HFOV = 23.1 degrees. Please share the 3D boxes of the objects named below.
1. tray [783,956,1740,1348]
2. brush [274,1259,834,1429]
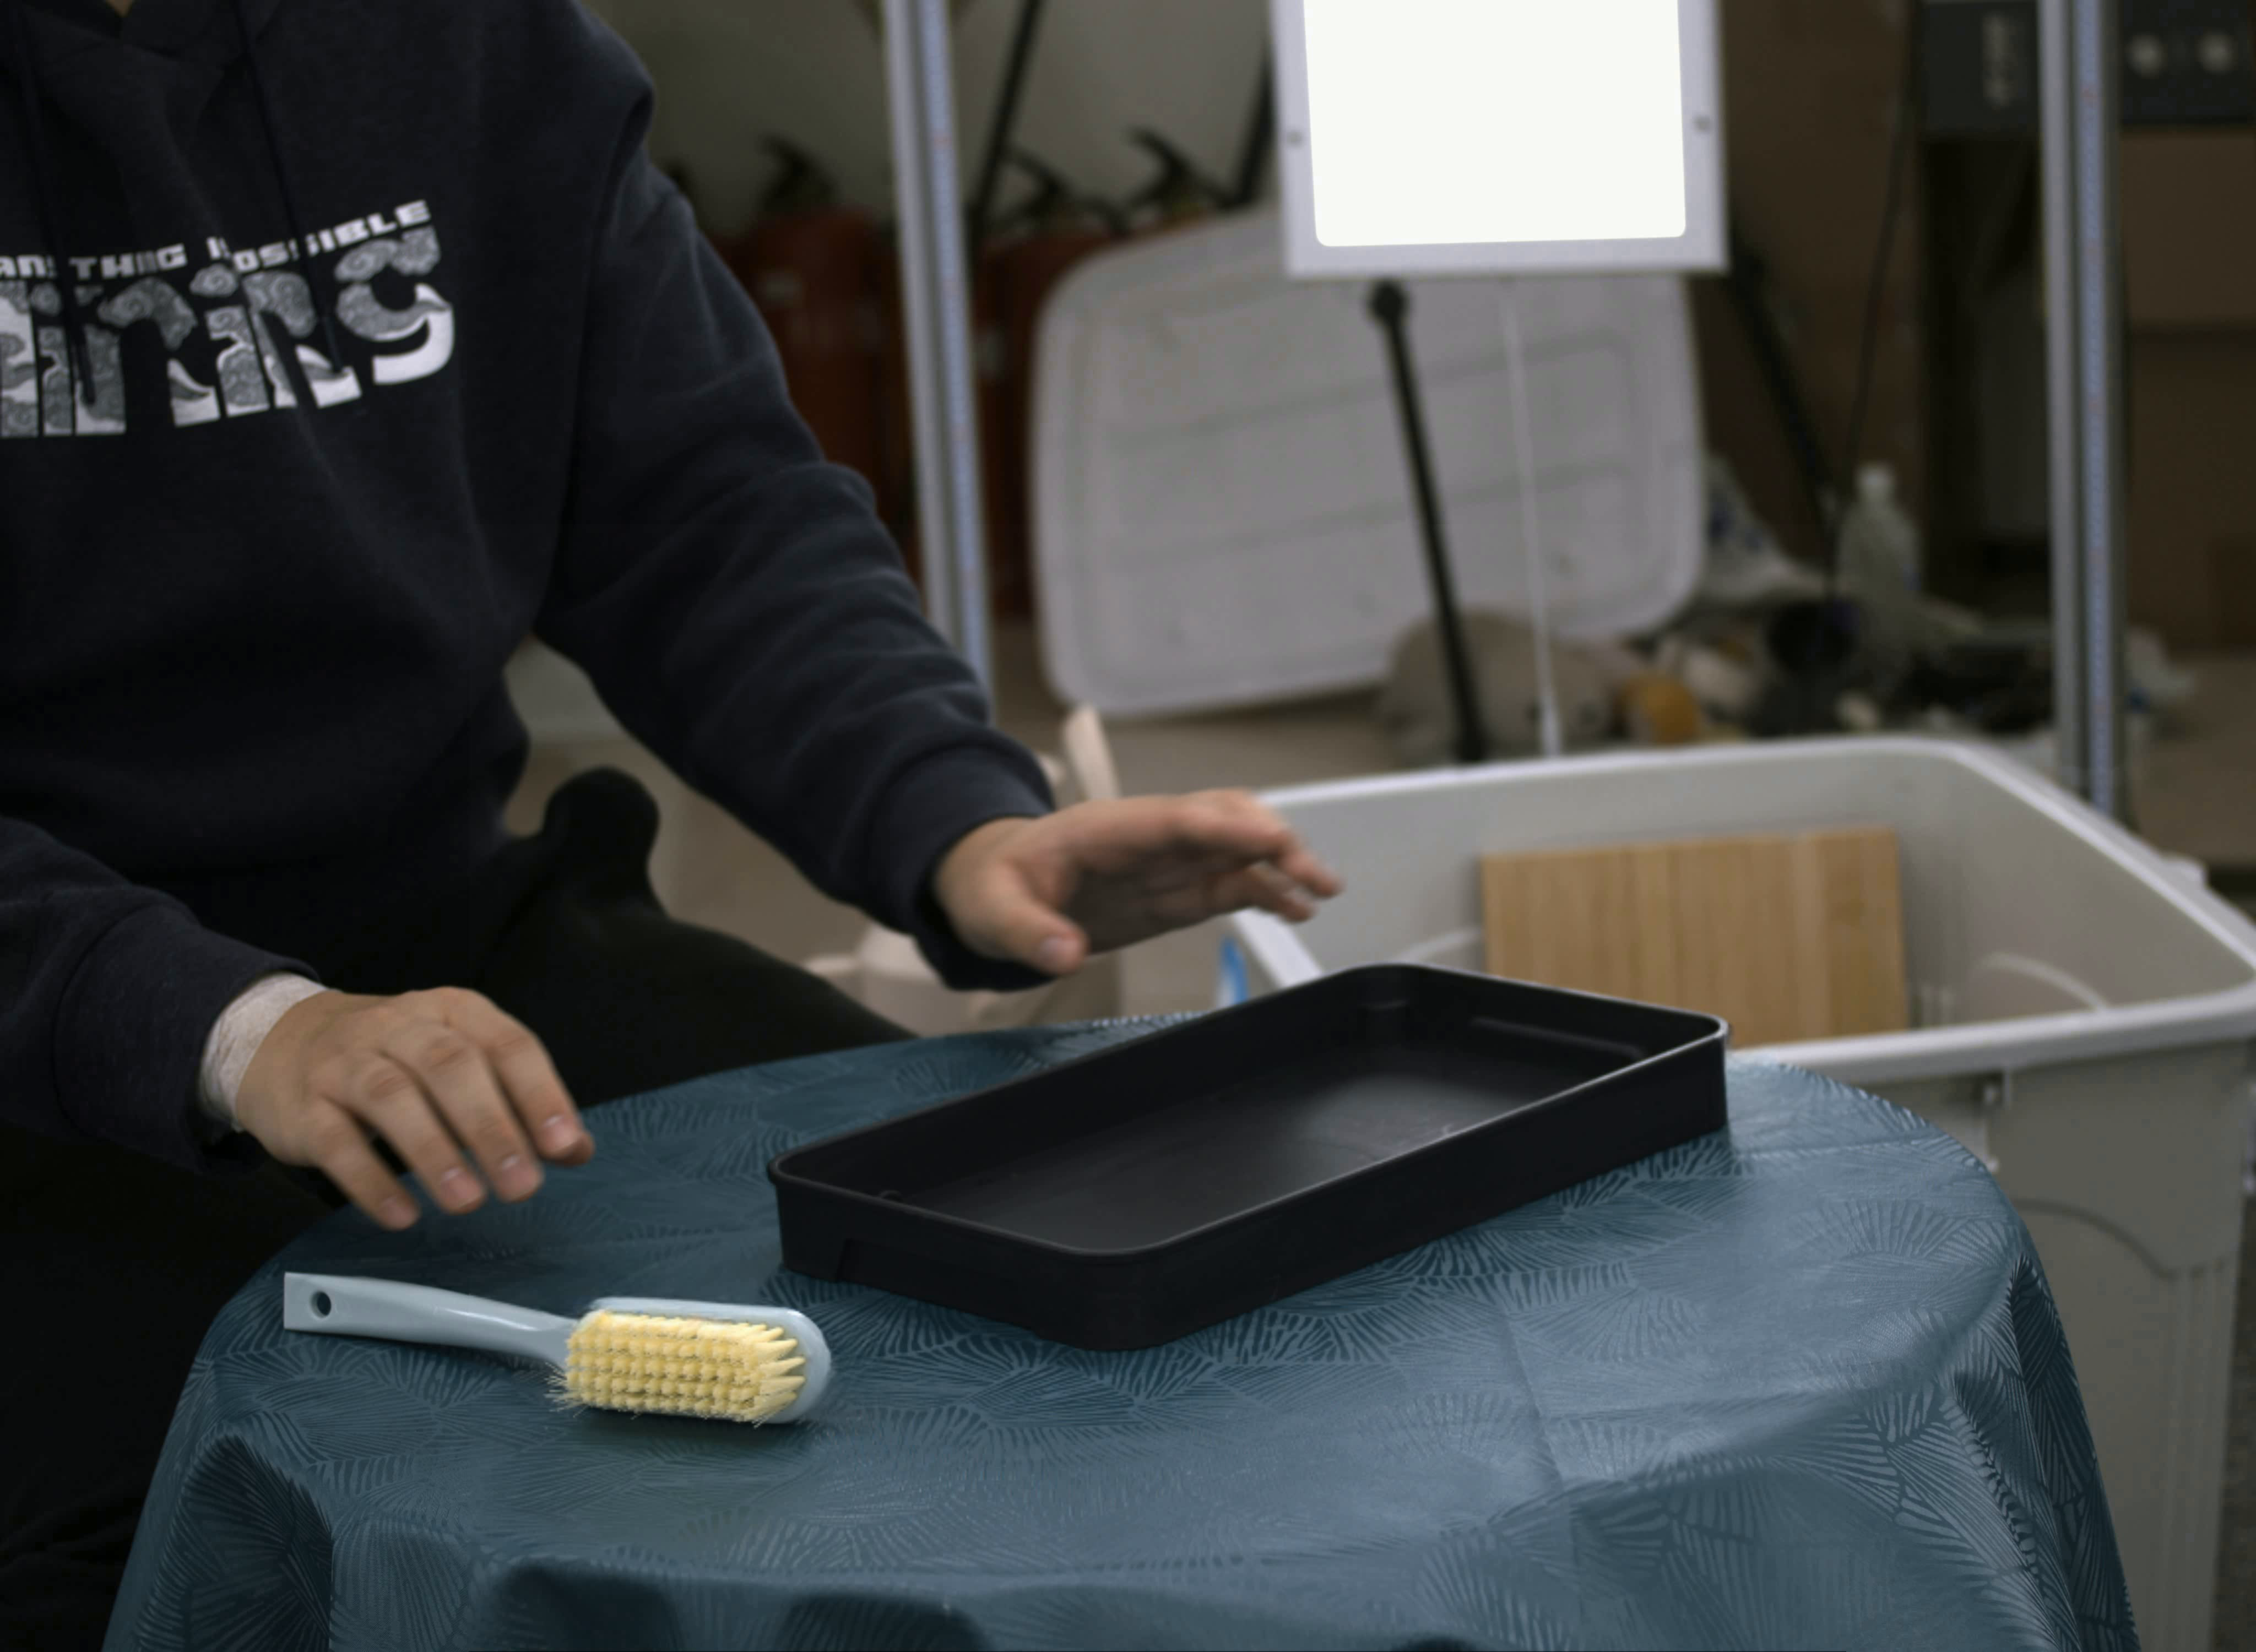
[{"bbox_3d":[0.051,0.106,1.889,0.310,0.037,0.188,-18,18,-42],"label":"tray"},{"bbox_3d":[-0.192,0.160,1.747,0.233,0.038,0.048,7,12,39],"label":"brush"}]
